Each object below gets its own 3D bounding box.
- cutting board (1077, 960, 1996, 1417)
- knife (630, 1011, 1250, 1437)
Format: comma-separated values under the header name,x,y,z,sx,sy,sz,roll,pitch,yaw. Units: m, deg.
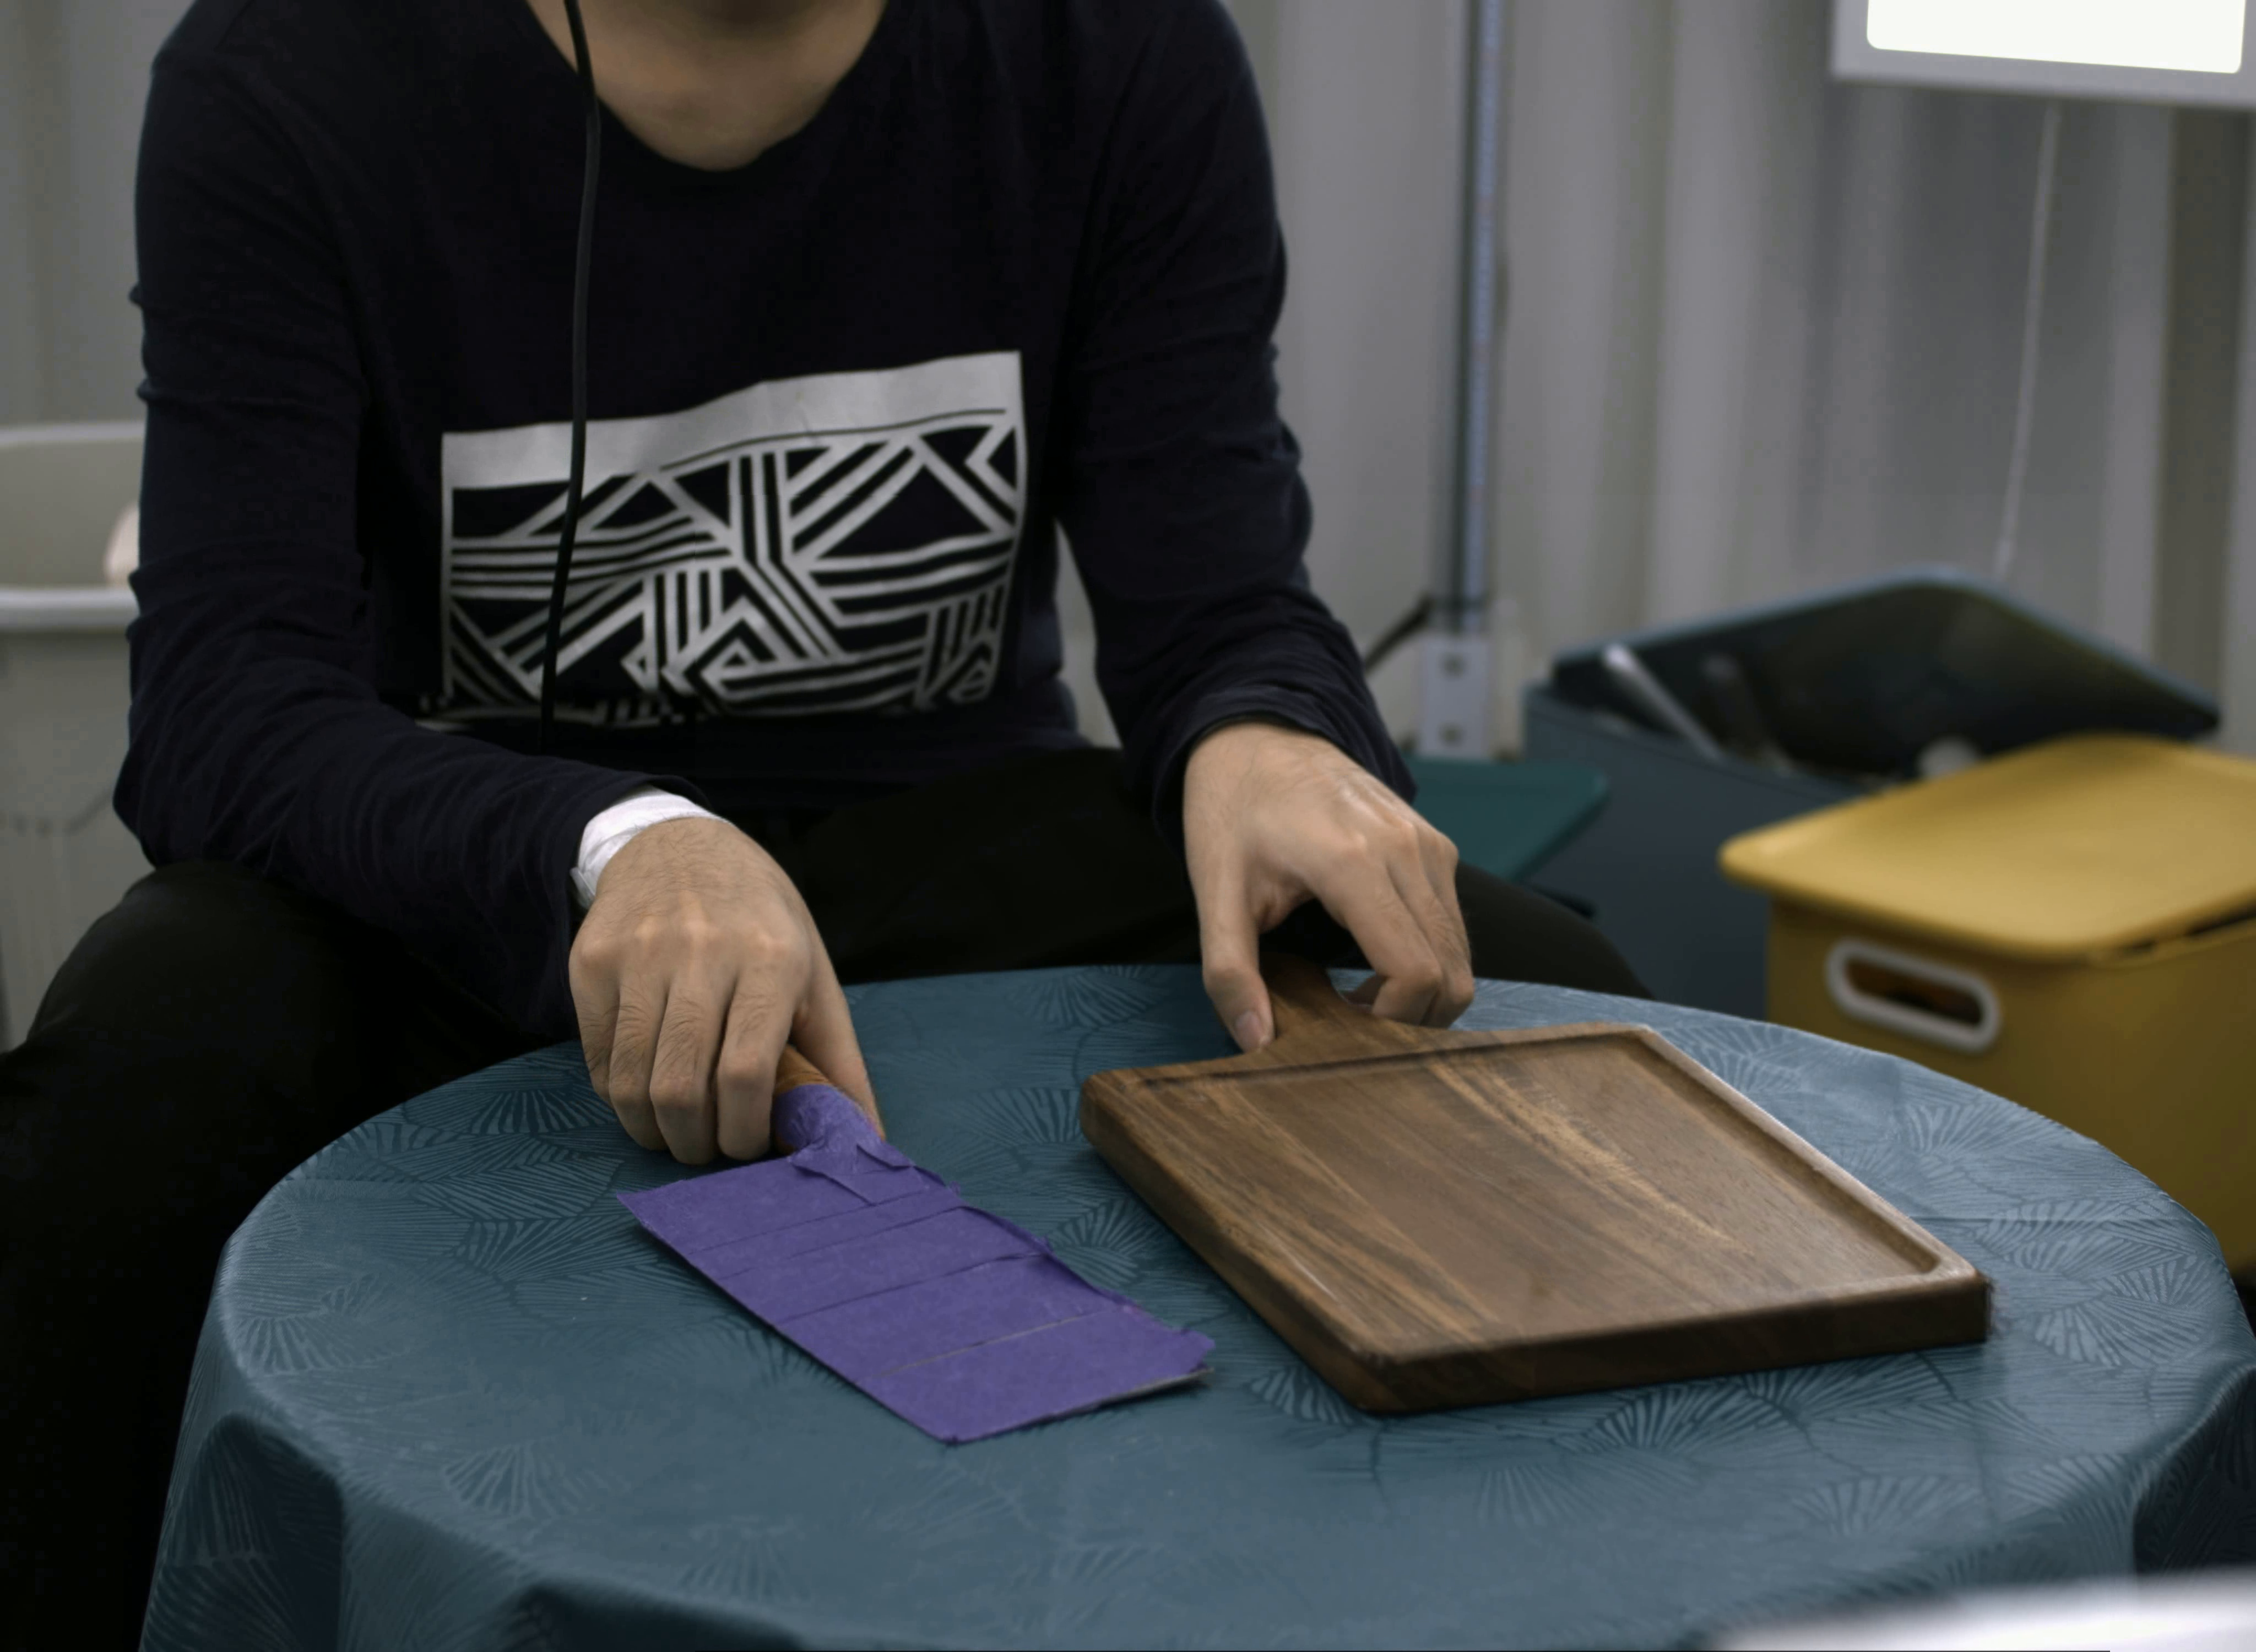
name,x,y,z,sx,sy,sz,roll,pitch,yaw
cutting board,0.100,0.100,1.624,0.201,0.023,0.348,-5,17,-19
knife,-0.089,0.114,1.565,0.104,0.032,0.311,-10,19,-30
